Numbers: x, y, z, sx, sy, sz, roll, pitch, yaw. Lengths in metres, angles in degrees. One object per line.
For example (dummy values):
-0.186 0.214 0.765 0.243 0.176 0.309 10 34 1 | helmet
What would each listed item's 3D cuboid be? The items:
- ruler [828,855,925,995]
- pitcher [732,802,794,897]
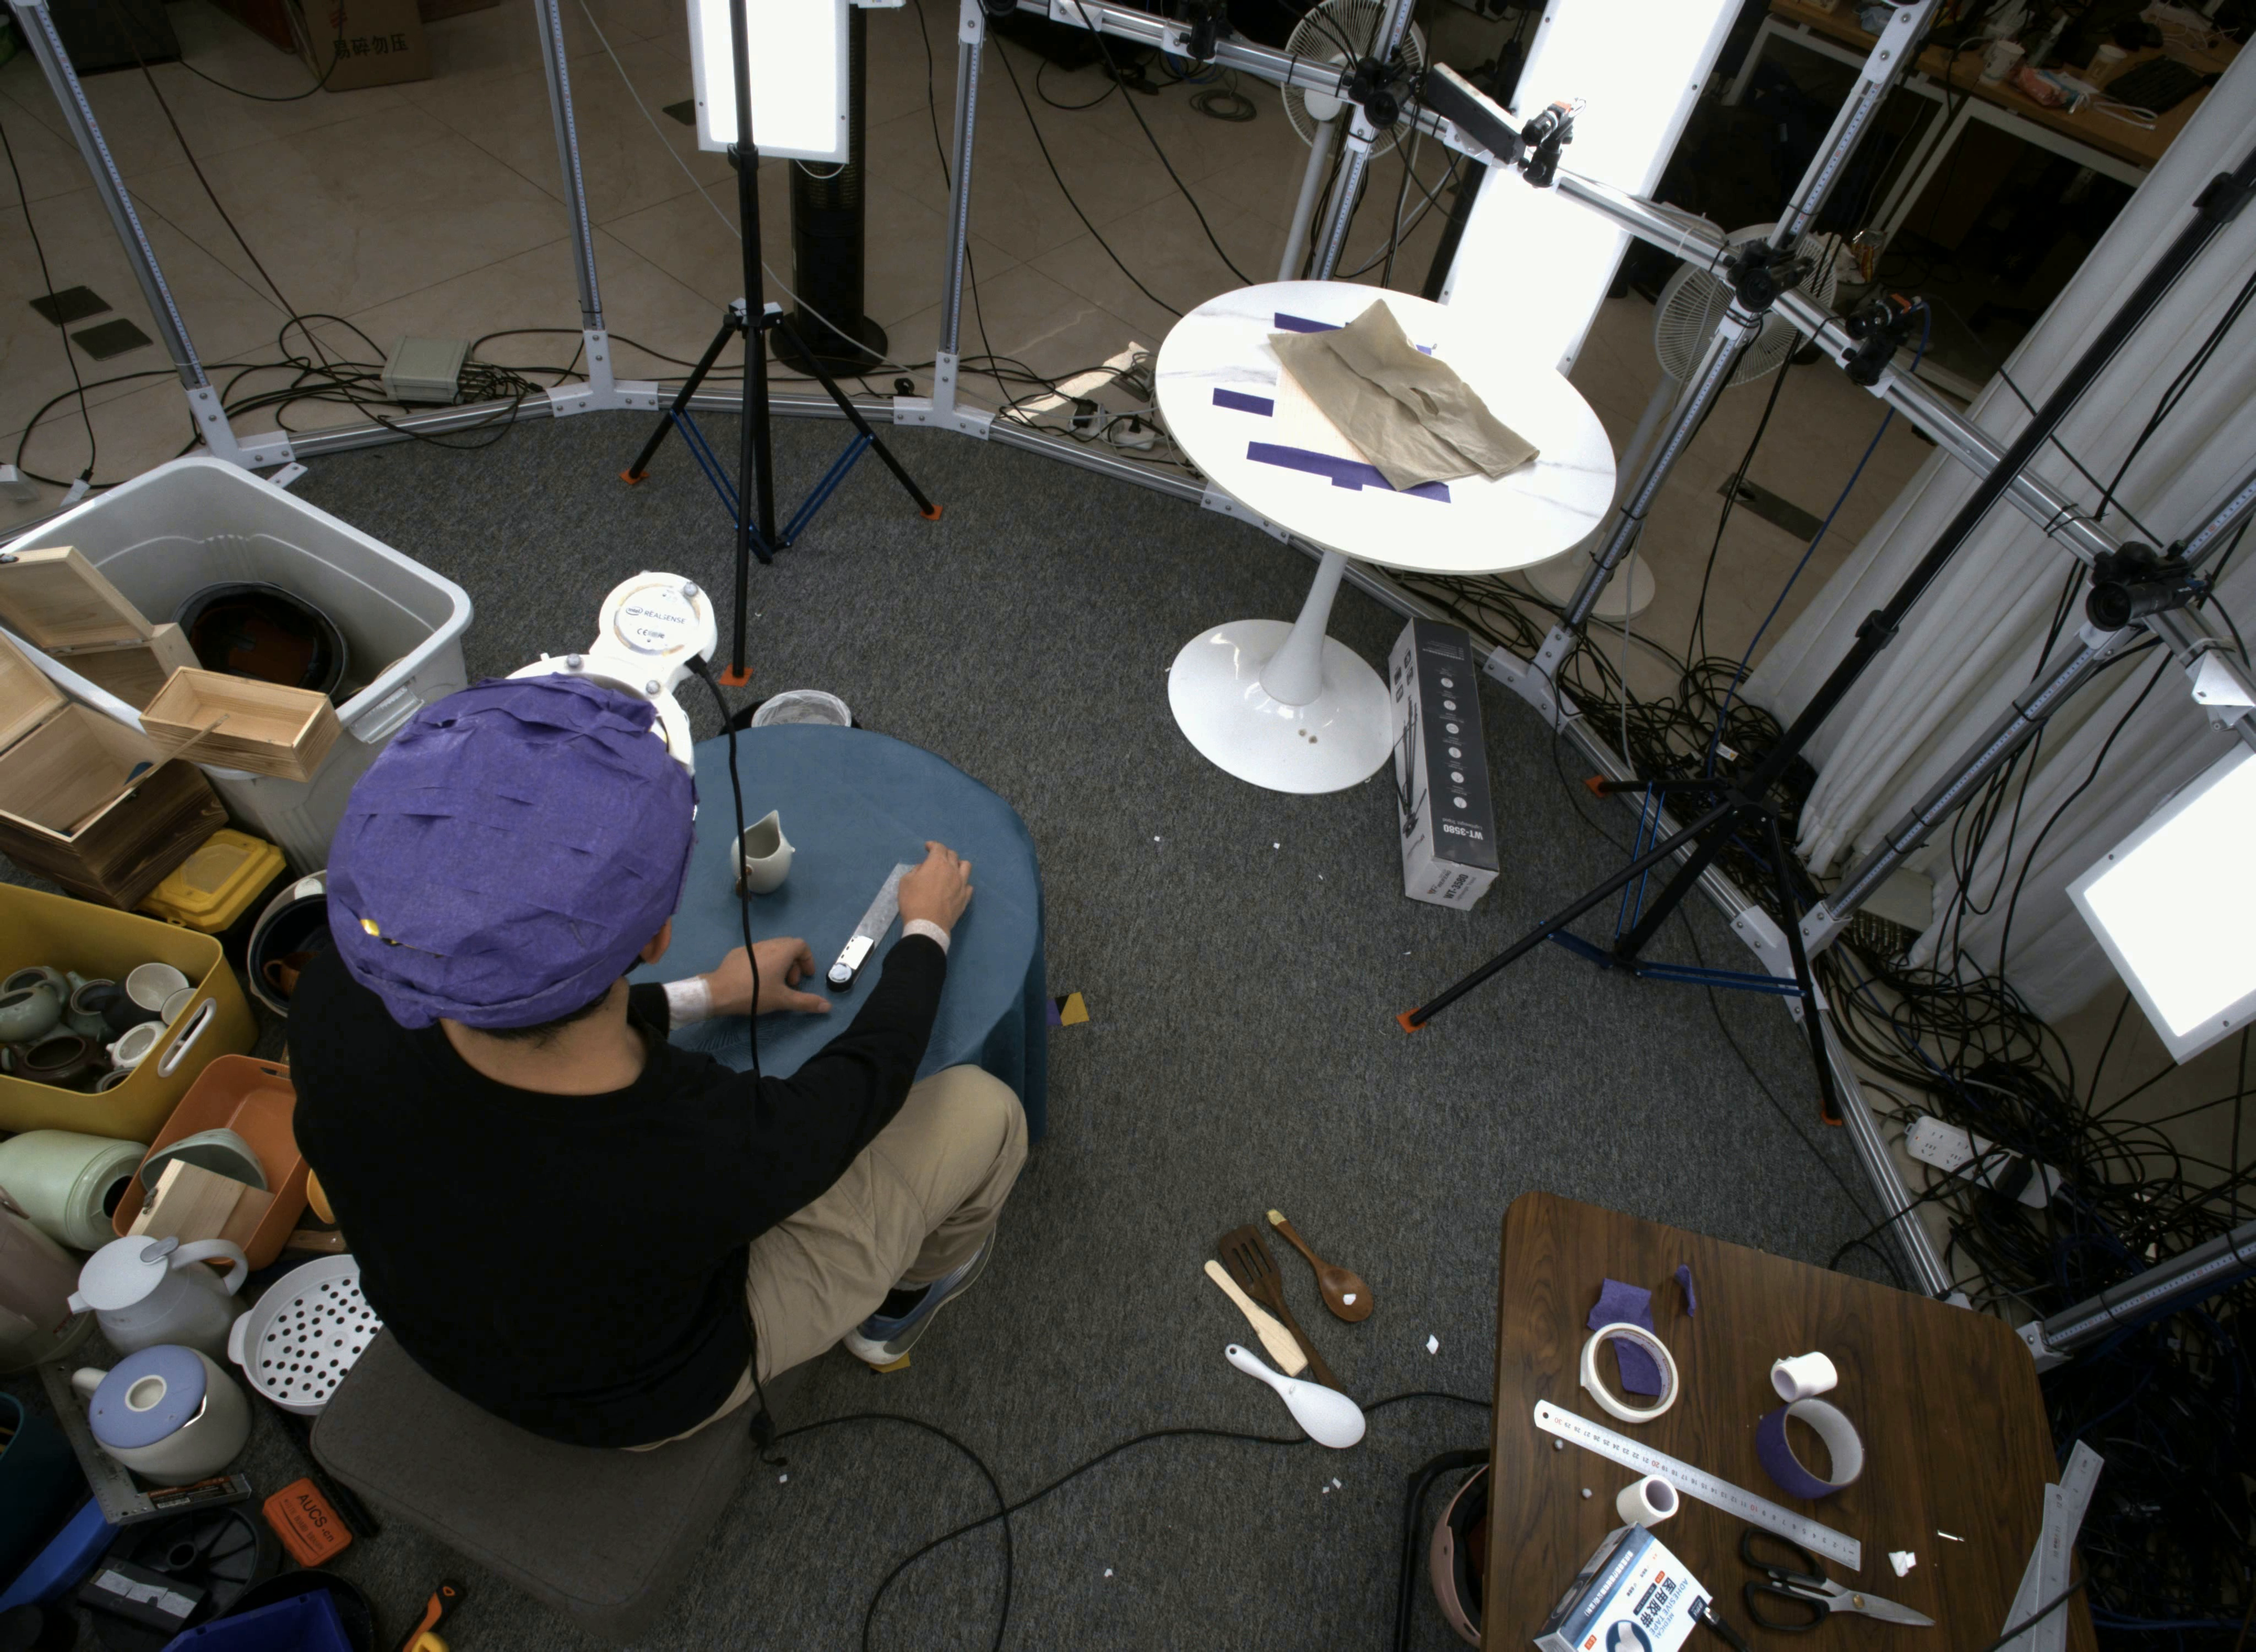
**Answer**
-0.318 0.117 1.644 0.038 0.024 0.216 27 53 -2 | ruler
-0.461 0.040 1.623 0.075 0.090 0.118 18 50 6 | pitcher
